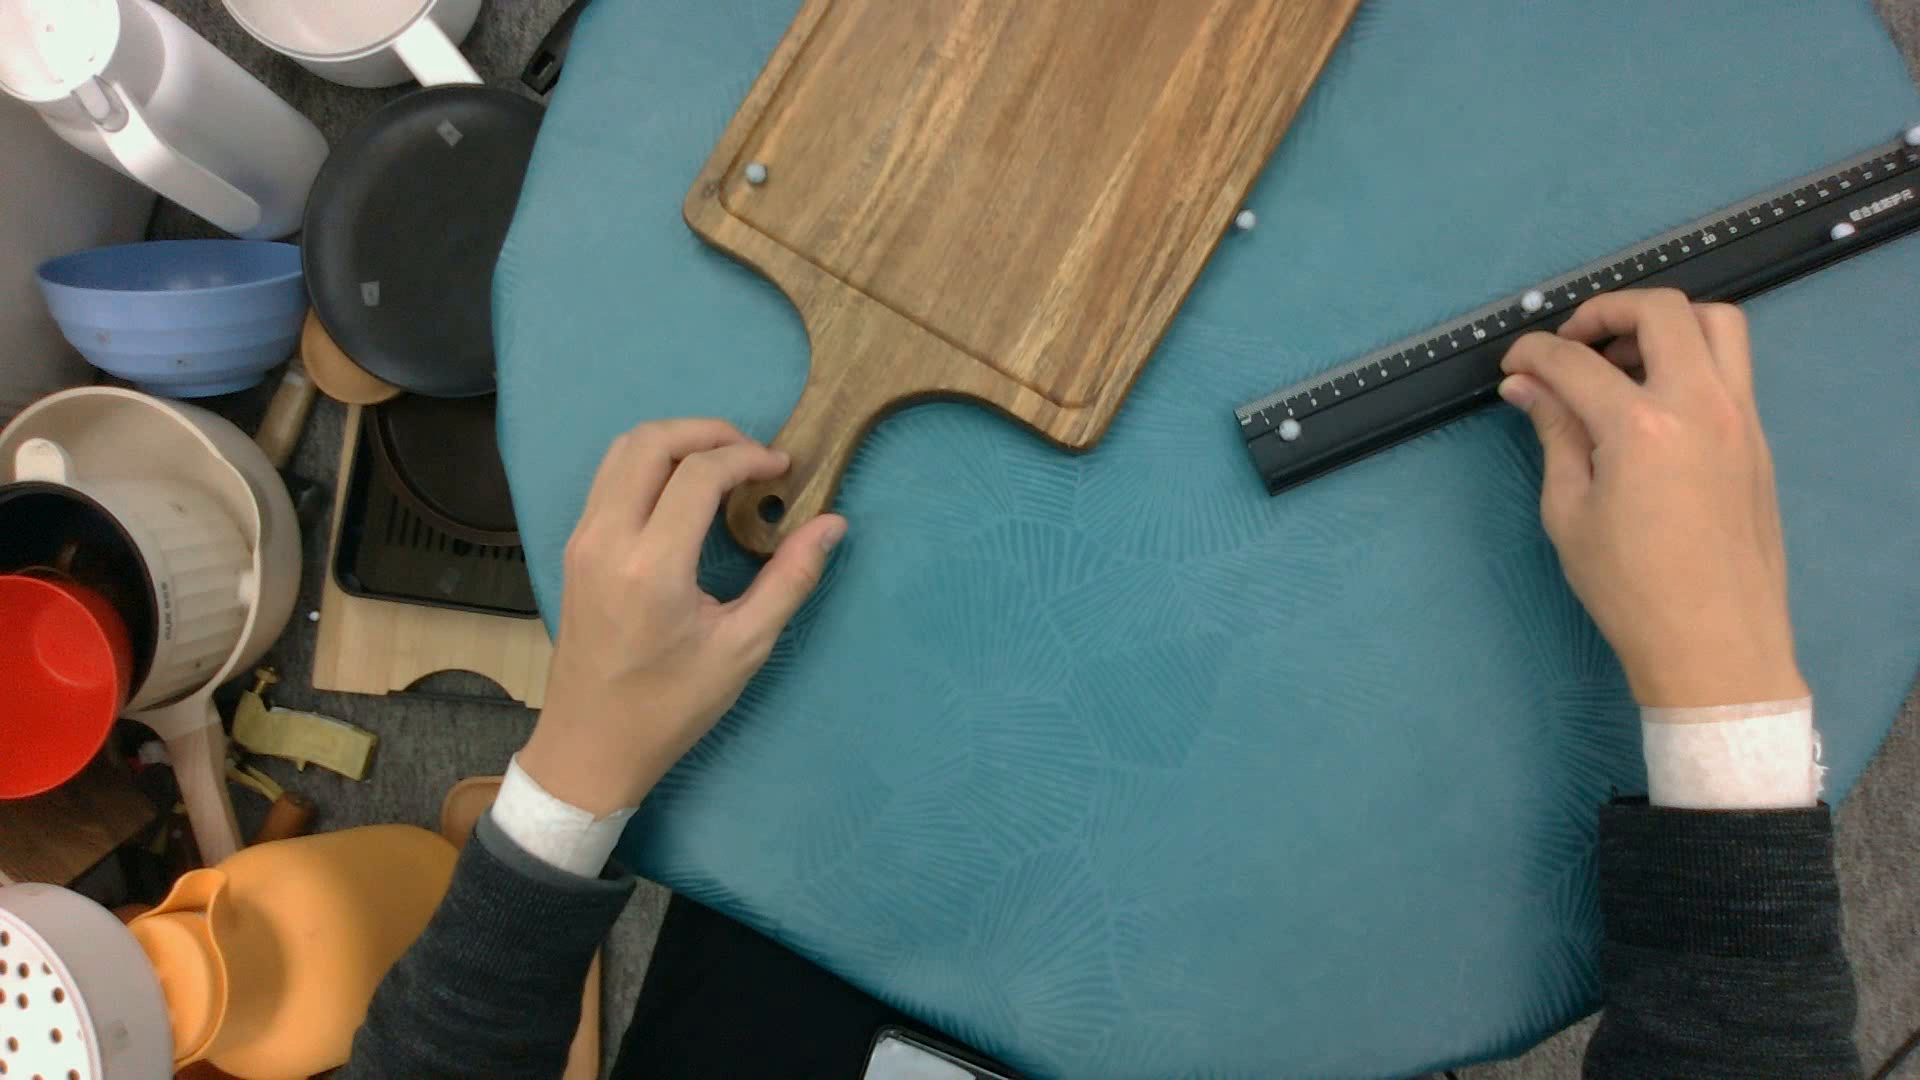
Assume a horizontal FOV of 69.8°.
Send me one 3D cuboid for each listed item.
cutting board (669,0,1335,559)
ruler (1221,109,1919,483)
[{"bbox_3d":[0.000,-0.149,0.564,0.201,0.023,0.352,30,86,5],"label":"cutting board"},{"bbox_3d":[0.255,-0.101,0.551,0.312,0.017,0.039,-23,81,0],"label":"ruler"}]
